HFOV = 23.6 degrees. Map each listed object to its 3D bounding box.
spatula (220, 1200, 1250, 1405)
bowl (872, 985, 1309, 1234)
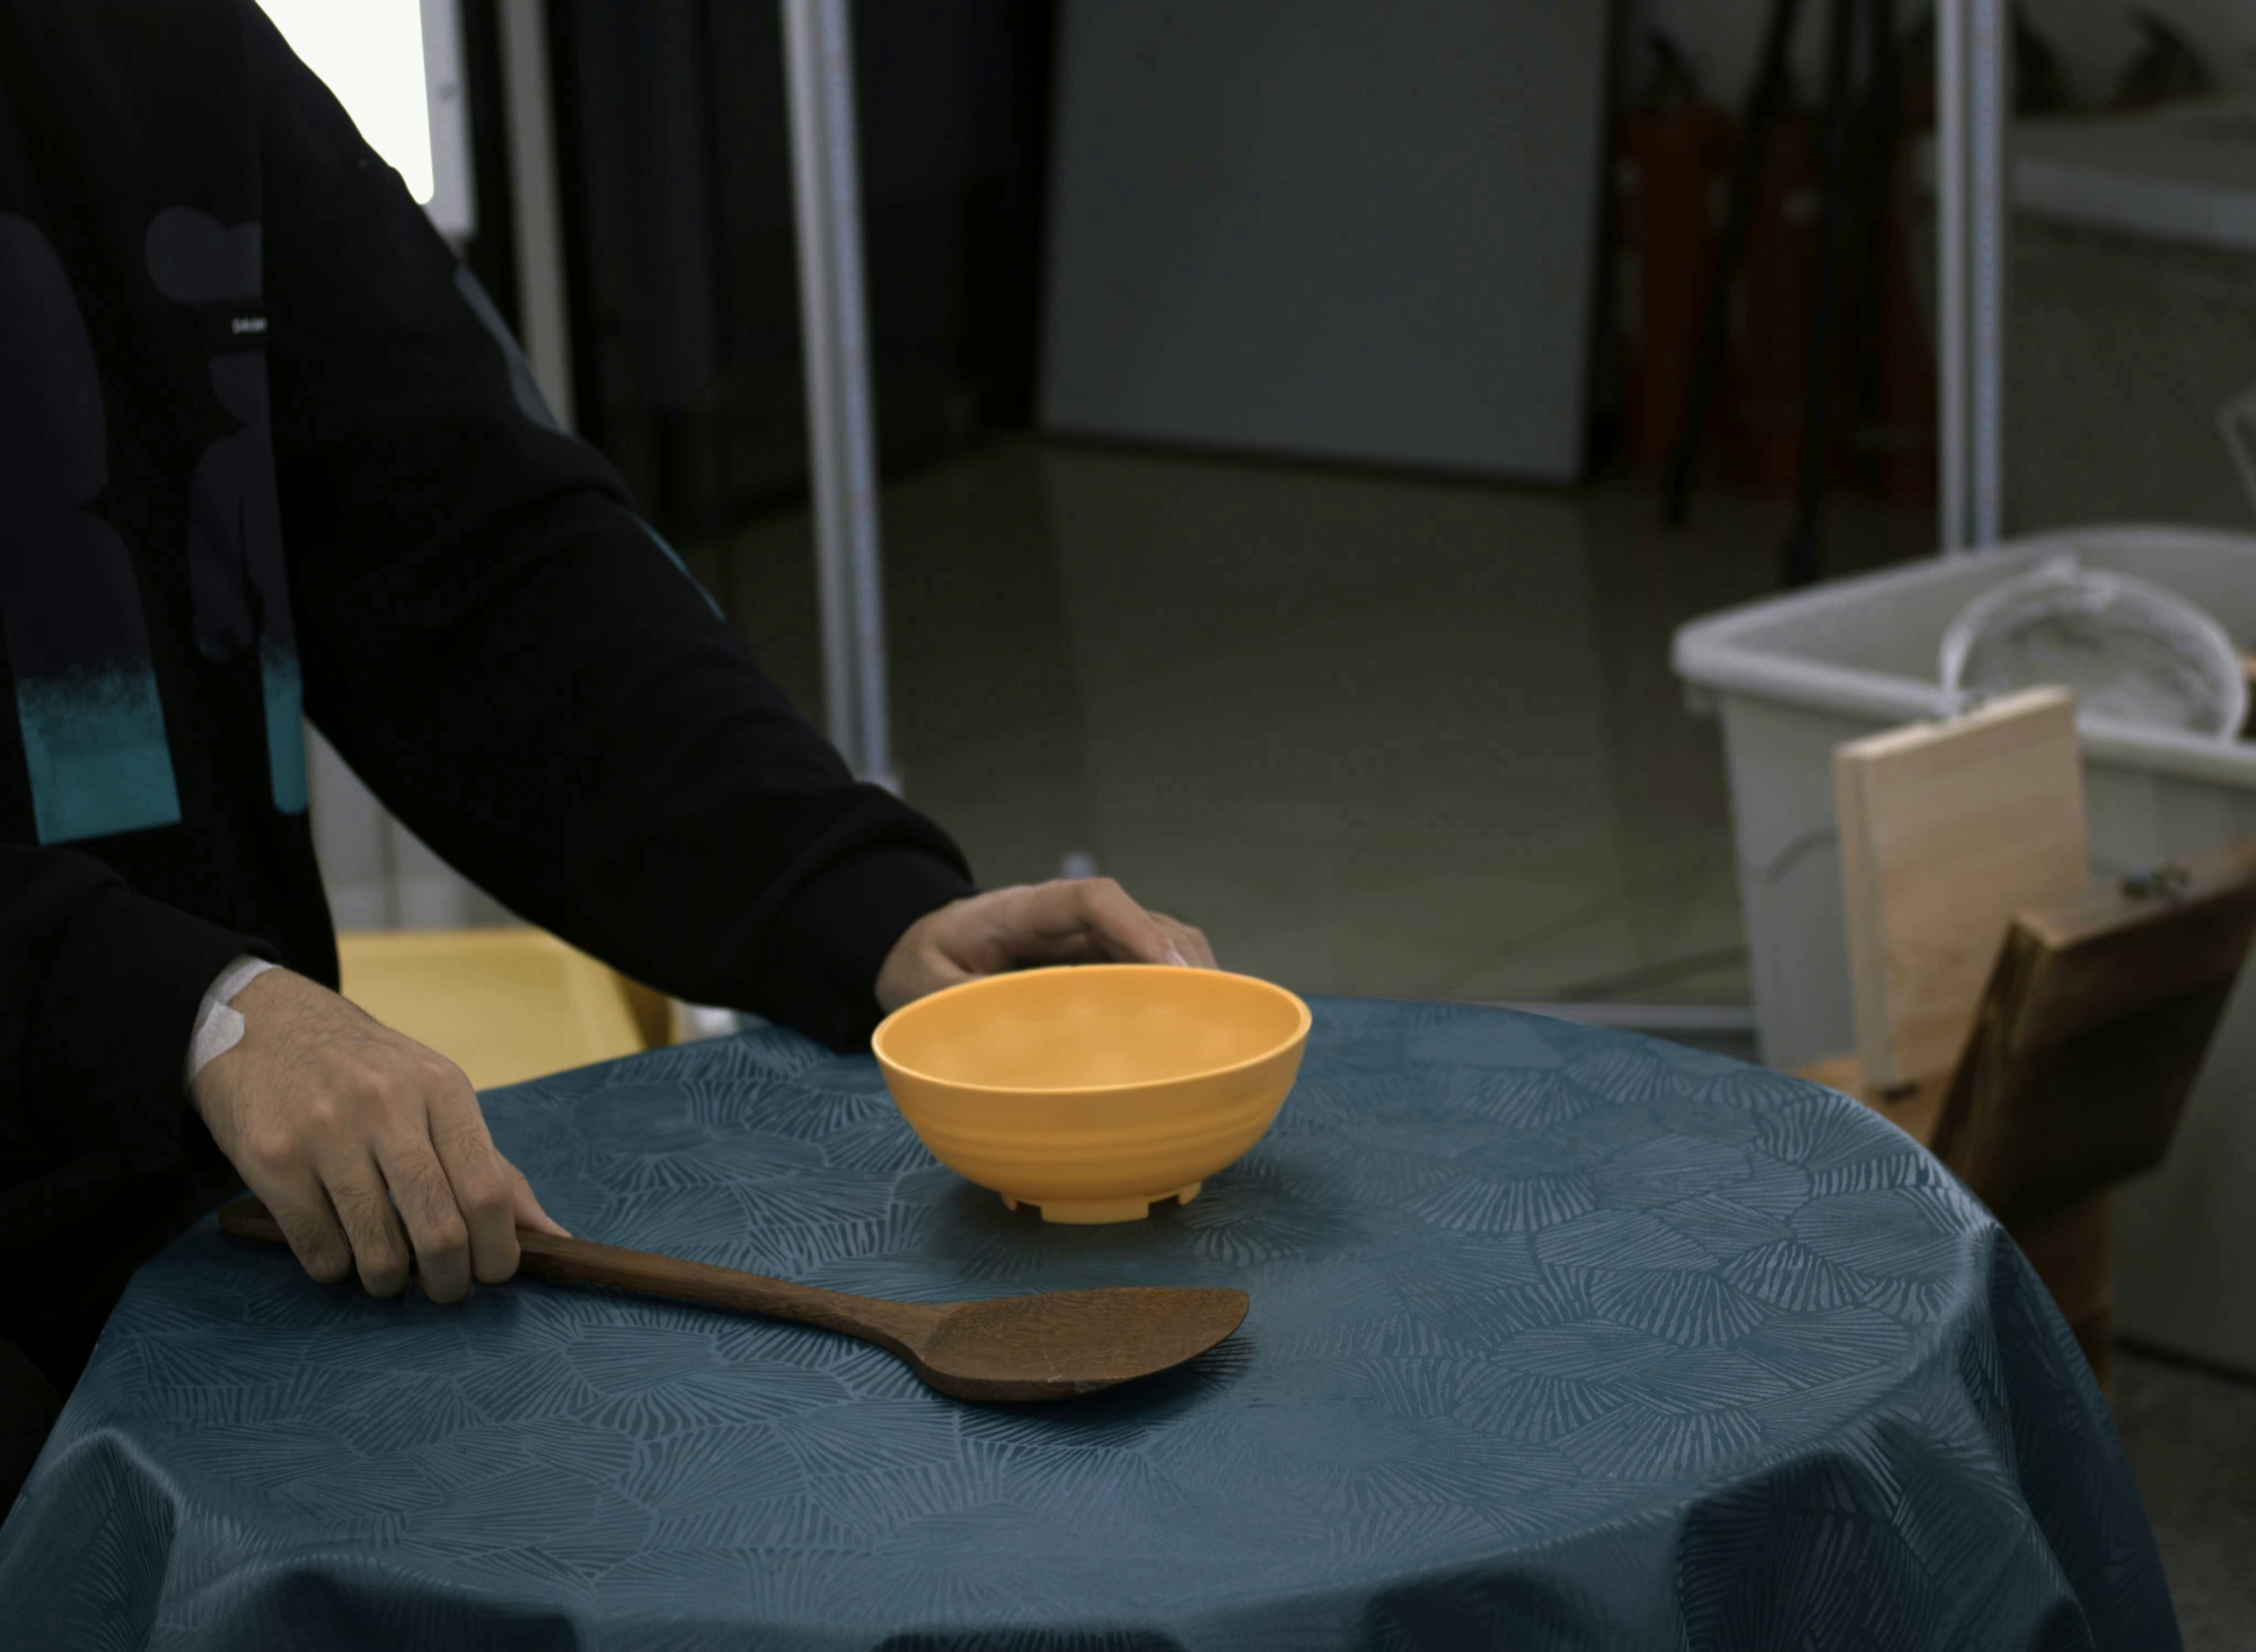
[{"bbox_3d":[-0.137,0.144,1.689,0.388,0.016,0.094,5,16,33],"label":"spatula"},{"bbox_3d":[-0.011,0.096,1.763,0.143,0.061,0.145,-3,11,0],"label":"bowl"}]
